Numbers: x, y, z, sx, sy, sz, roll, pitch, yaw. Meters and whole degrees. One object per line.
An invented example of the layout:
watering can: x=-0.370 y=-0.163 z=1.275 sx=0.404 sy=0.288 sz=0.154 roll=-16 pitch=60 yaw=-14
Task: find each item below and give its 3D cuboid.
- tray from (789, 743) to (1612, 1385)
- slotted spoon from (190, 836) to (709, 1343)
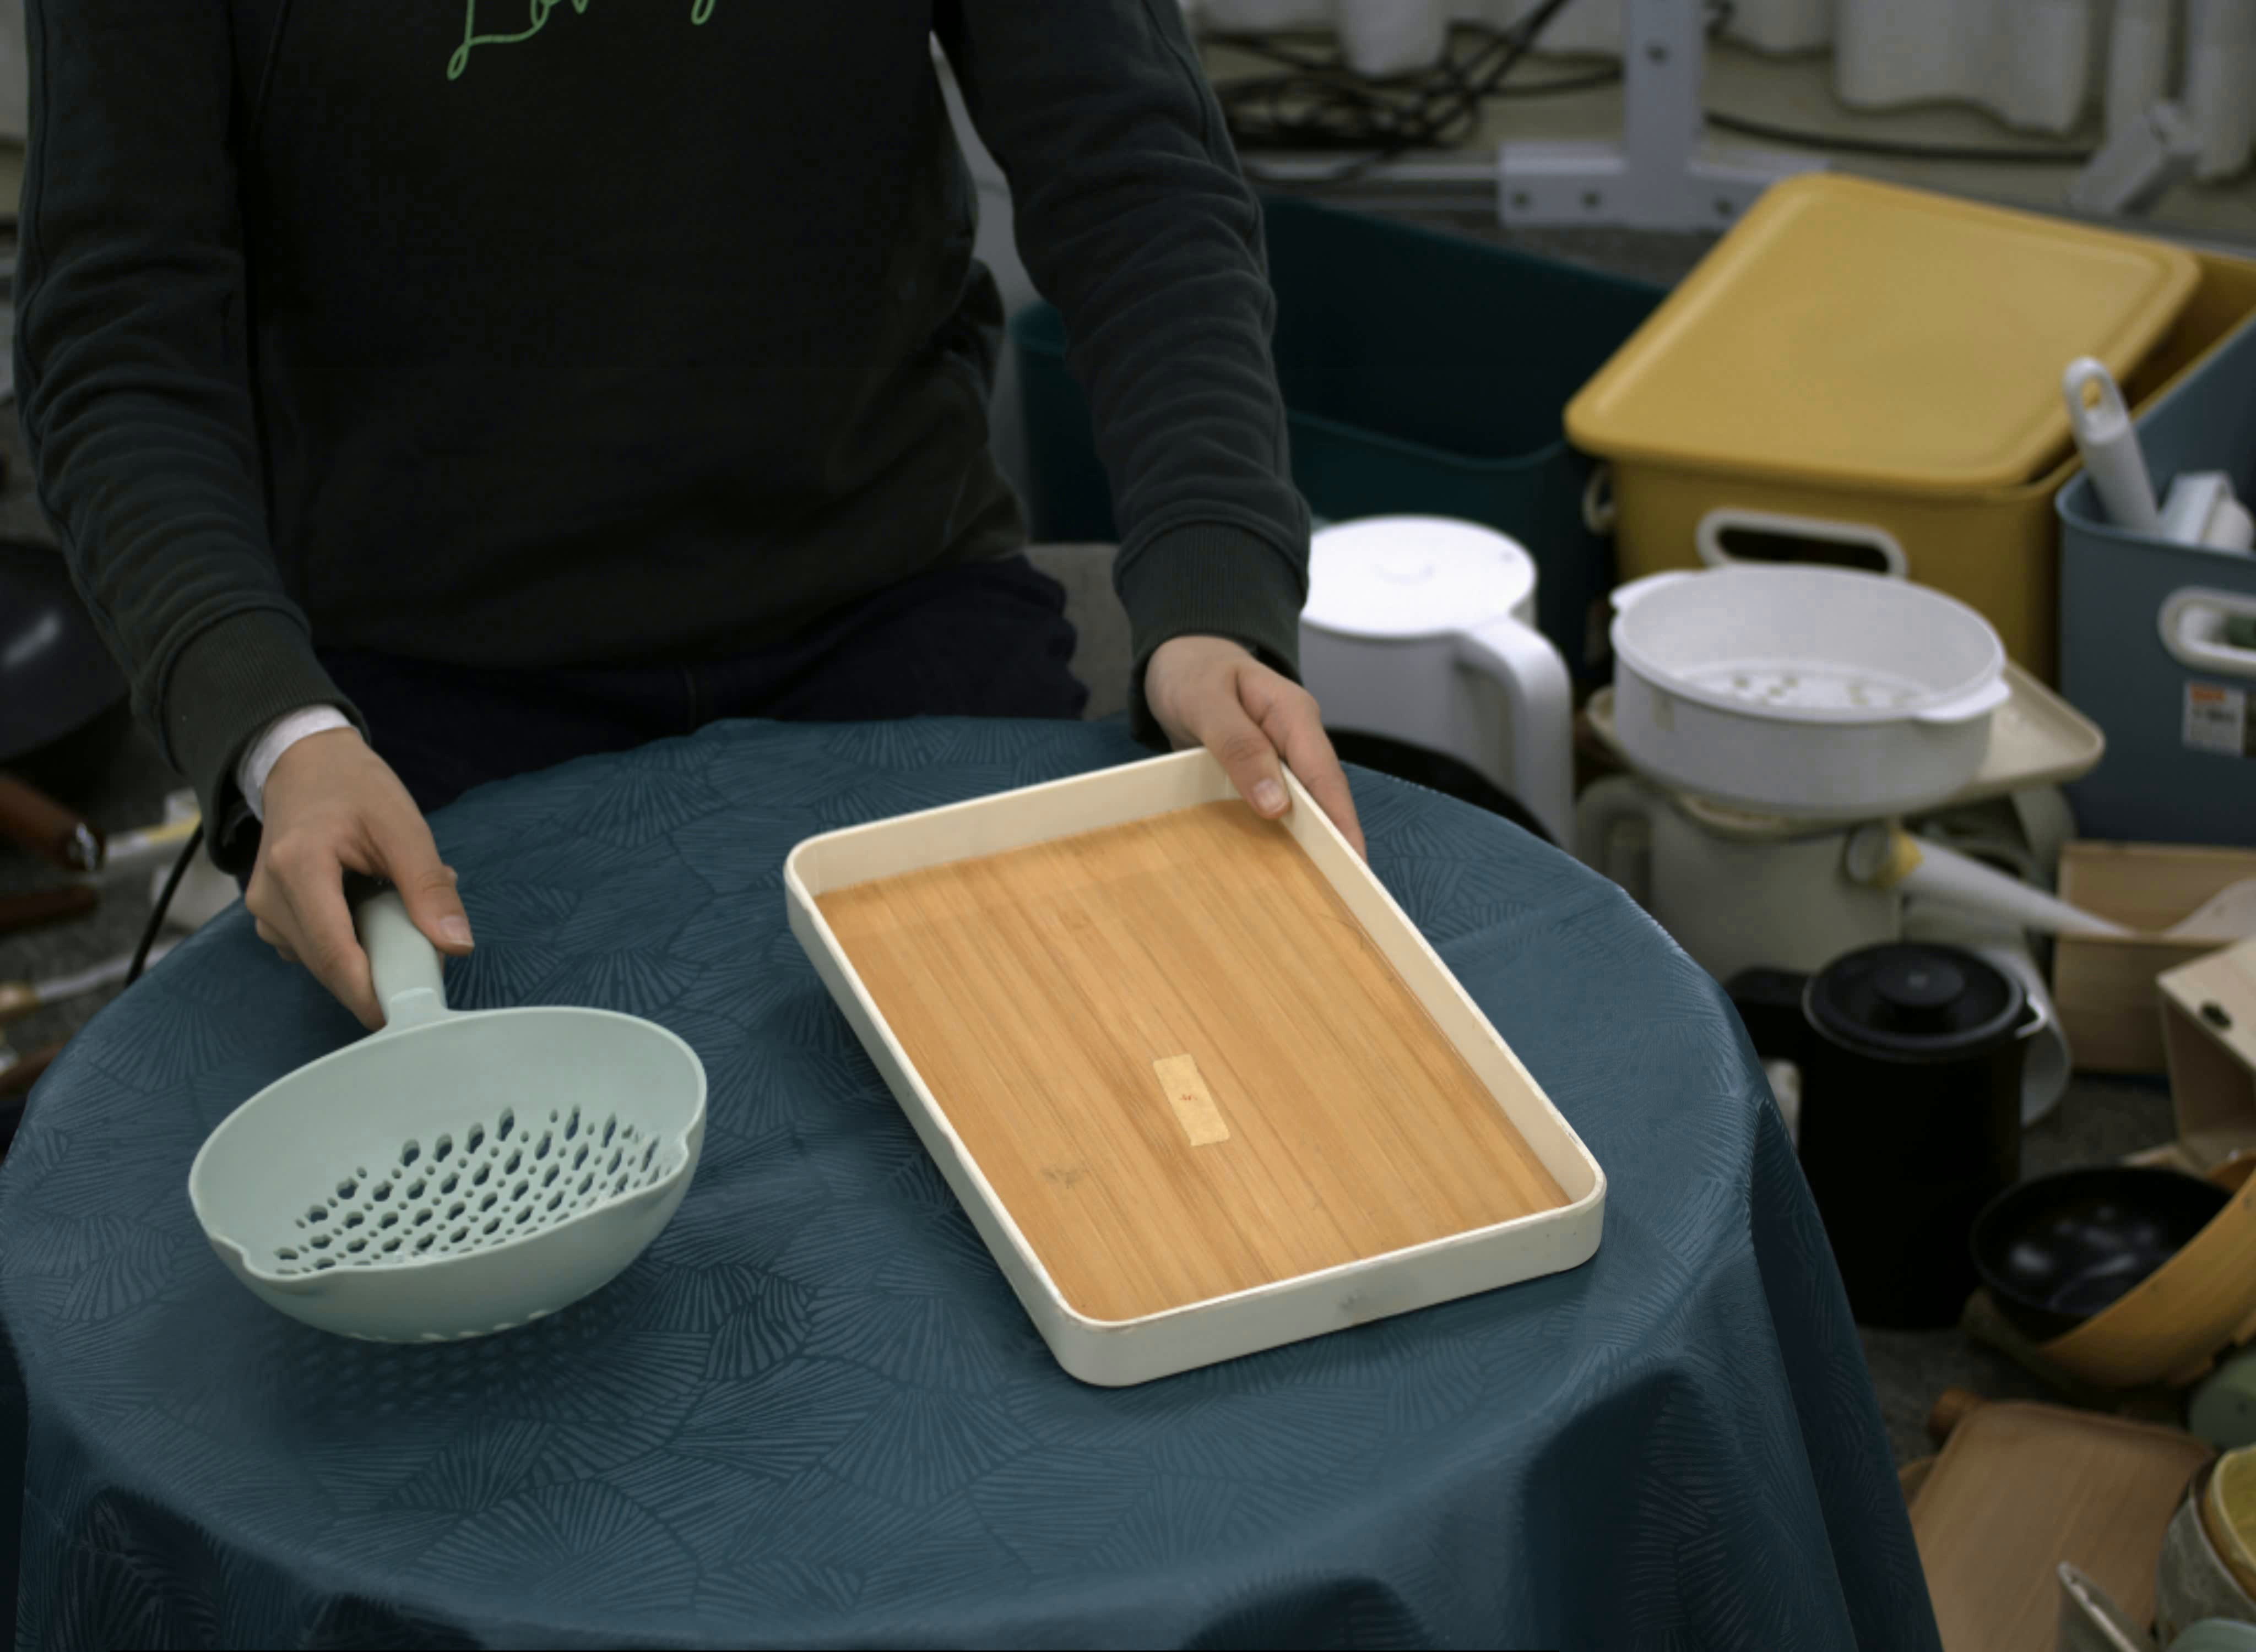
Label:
tray: x=0.018 y=0.073 z=1.890 sx=0.192 sy=0.027 sz=0.303 roll=-12 pitch=35 yaw=-18
slotted spoon: x=-0.235 y=0.072 z=1.882 sx=0.169 sy=0.074 sz=0.363 roll=-13 pitch=32 yaw=-8
